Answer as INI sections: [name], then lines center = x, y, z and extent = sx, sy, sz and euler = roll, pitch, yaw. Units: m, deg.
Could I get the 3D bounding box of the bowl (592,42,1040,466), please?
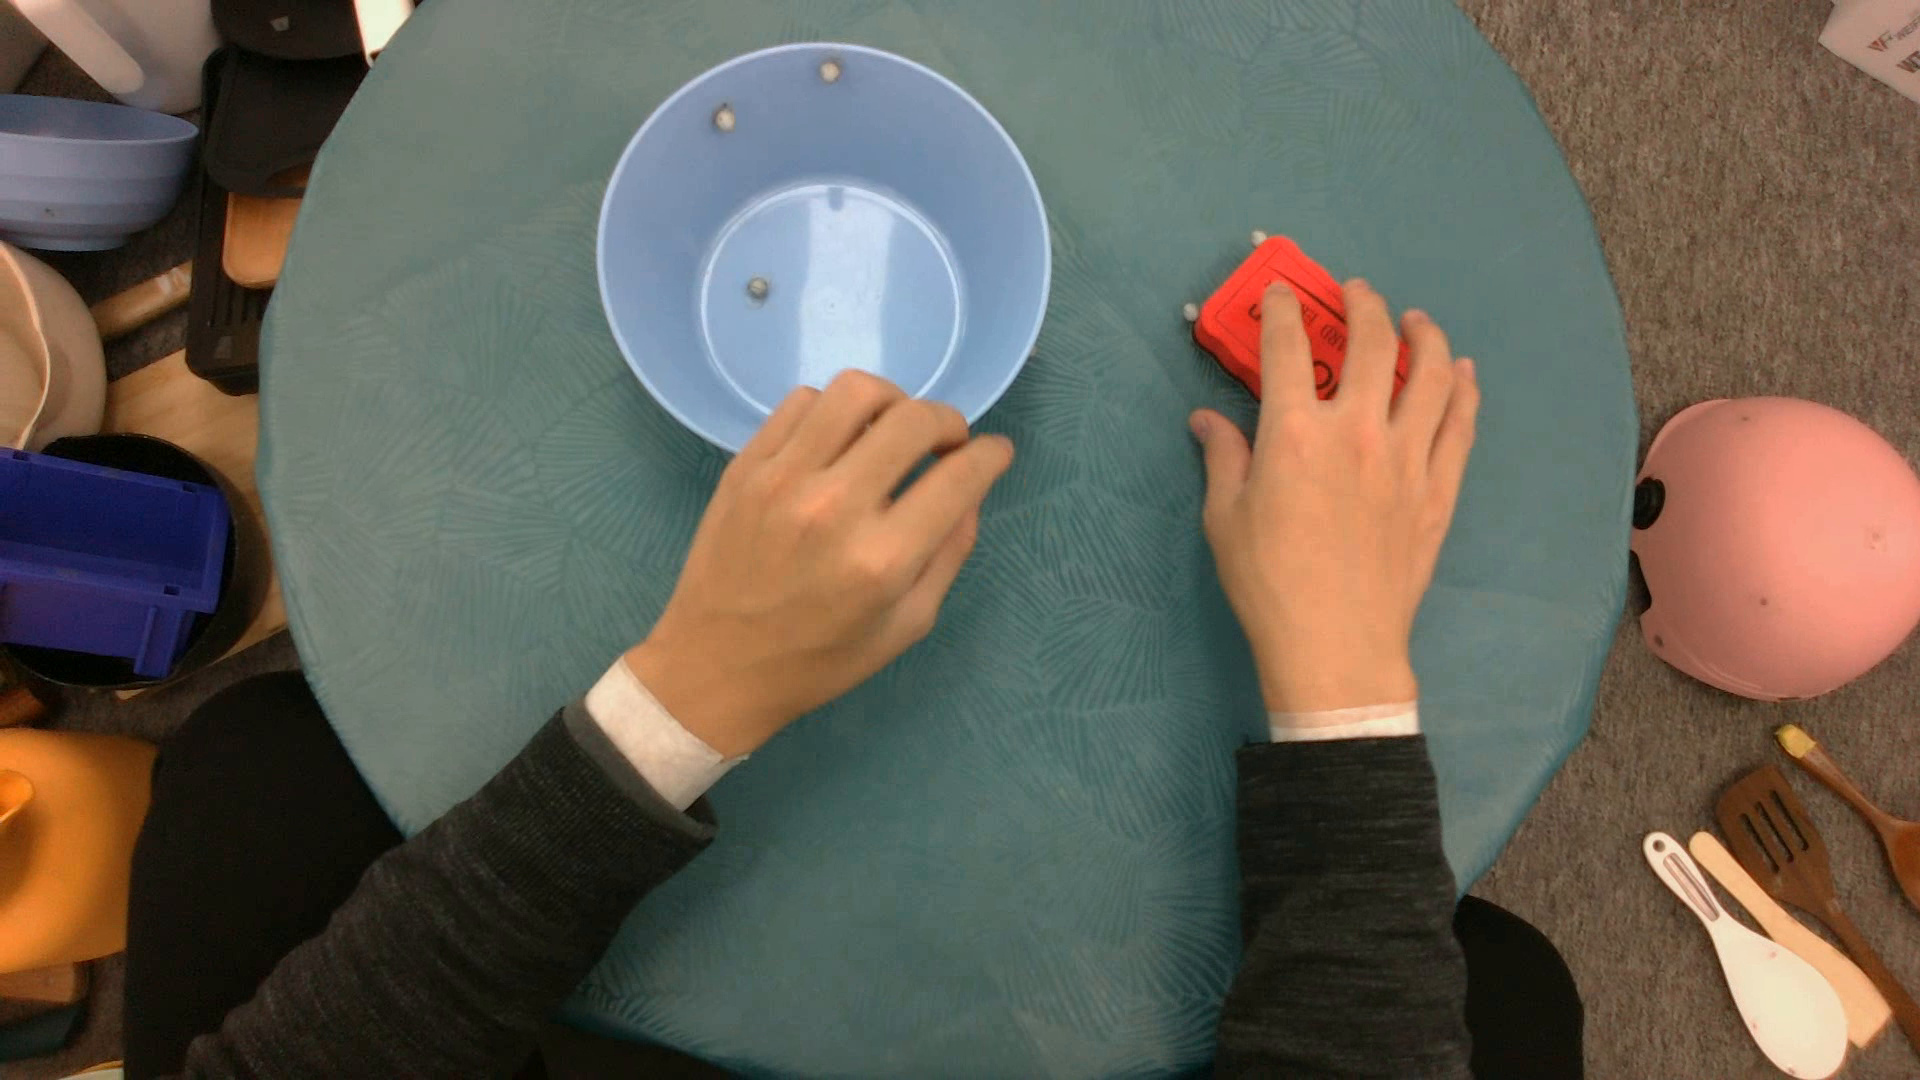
[bowl]
center = -0.058, -0.109, 0.570
extent = 0.176, 0.070, 0.176
euler = 1, 80, -5

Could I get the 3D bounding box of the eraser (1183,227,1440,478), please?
[eraser]
center = 0.154, -0.083, 0.607
extent = 0.108, 0.023, 0.059
euler = 44, 78, 3
